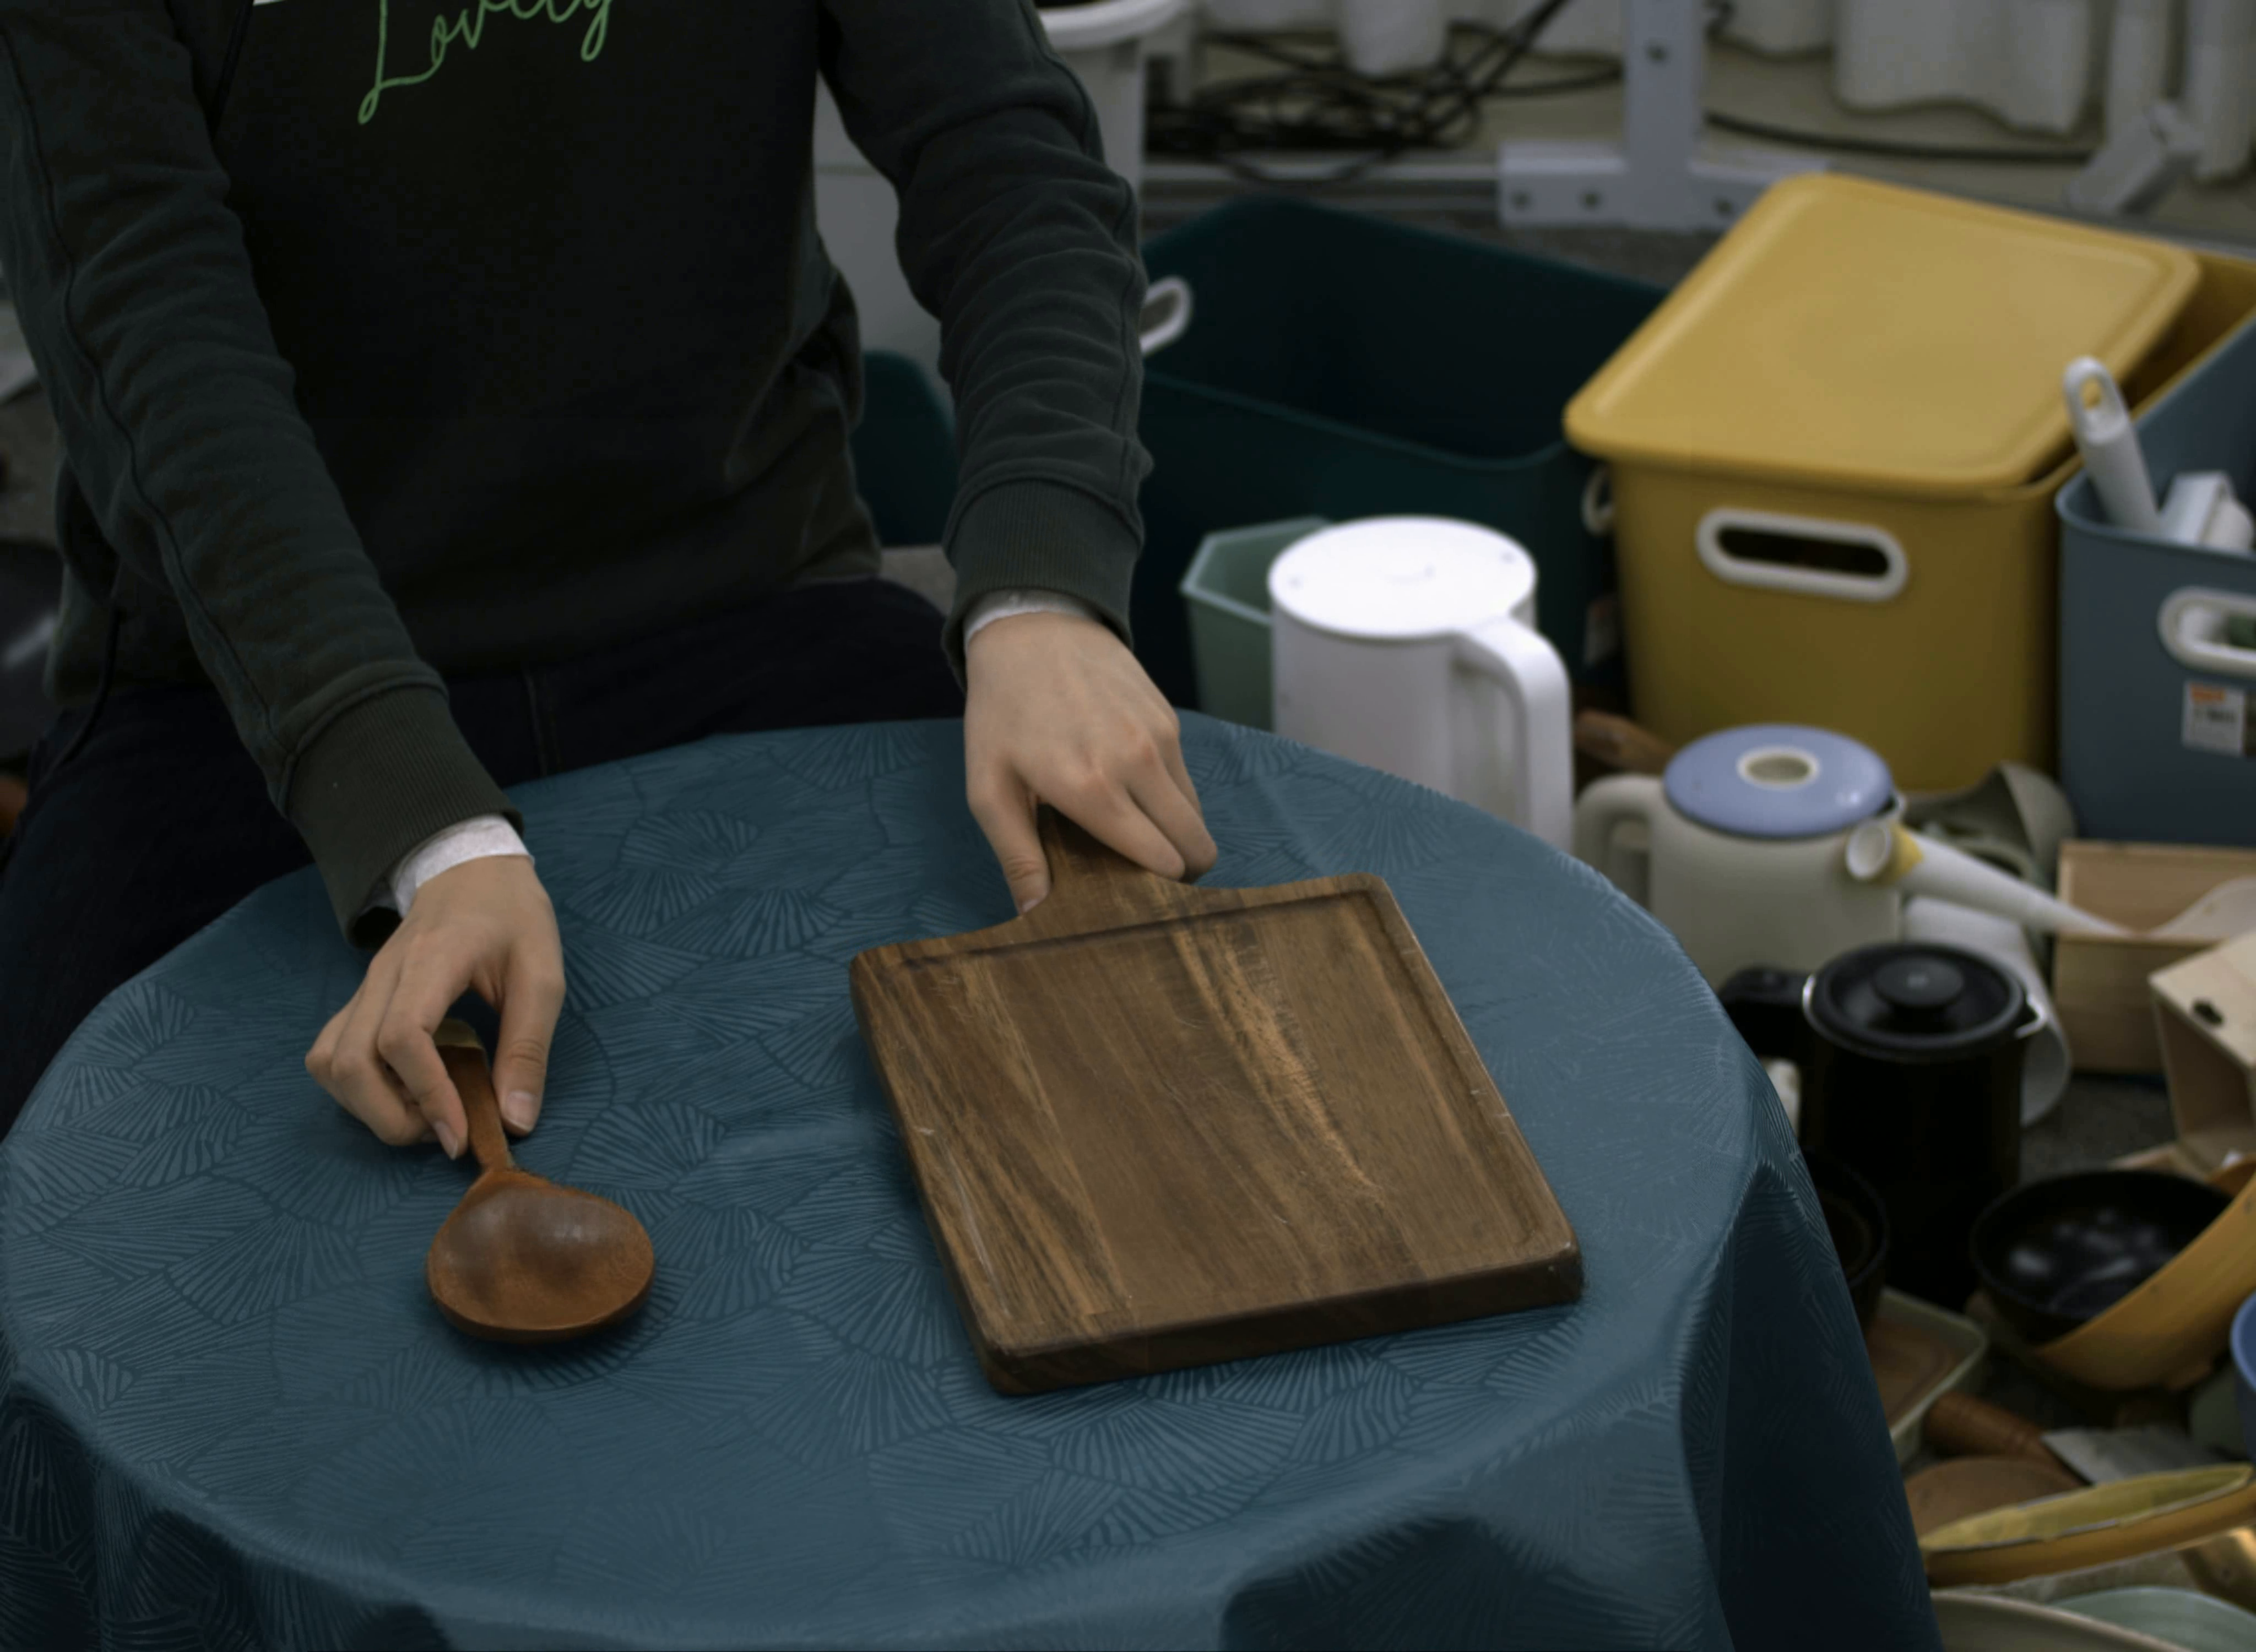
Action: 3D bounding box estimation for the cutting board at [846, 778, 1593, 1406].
[{"bbox_3d":[0.014,0.075,1.915,0.201,0.023,0.356,-9,30,-10],"label":"cutting board"}]

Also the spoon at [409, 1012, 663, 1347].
[{"bbox_3d":[-0.207,0.118,1.869,0.075,0.017,0.218,-12,30,-13],"label":"spoon"}]
